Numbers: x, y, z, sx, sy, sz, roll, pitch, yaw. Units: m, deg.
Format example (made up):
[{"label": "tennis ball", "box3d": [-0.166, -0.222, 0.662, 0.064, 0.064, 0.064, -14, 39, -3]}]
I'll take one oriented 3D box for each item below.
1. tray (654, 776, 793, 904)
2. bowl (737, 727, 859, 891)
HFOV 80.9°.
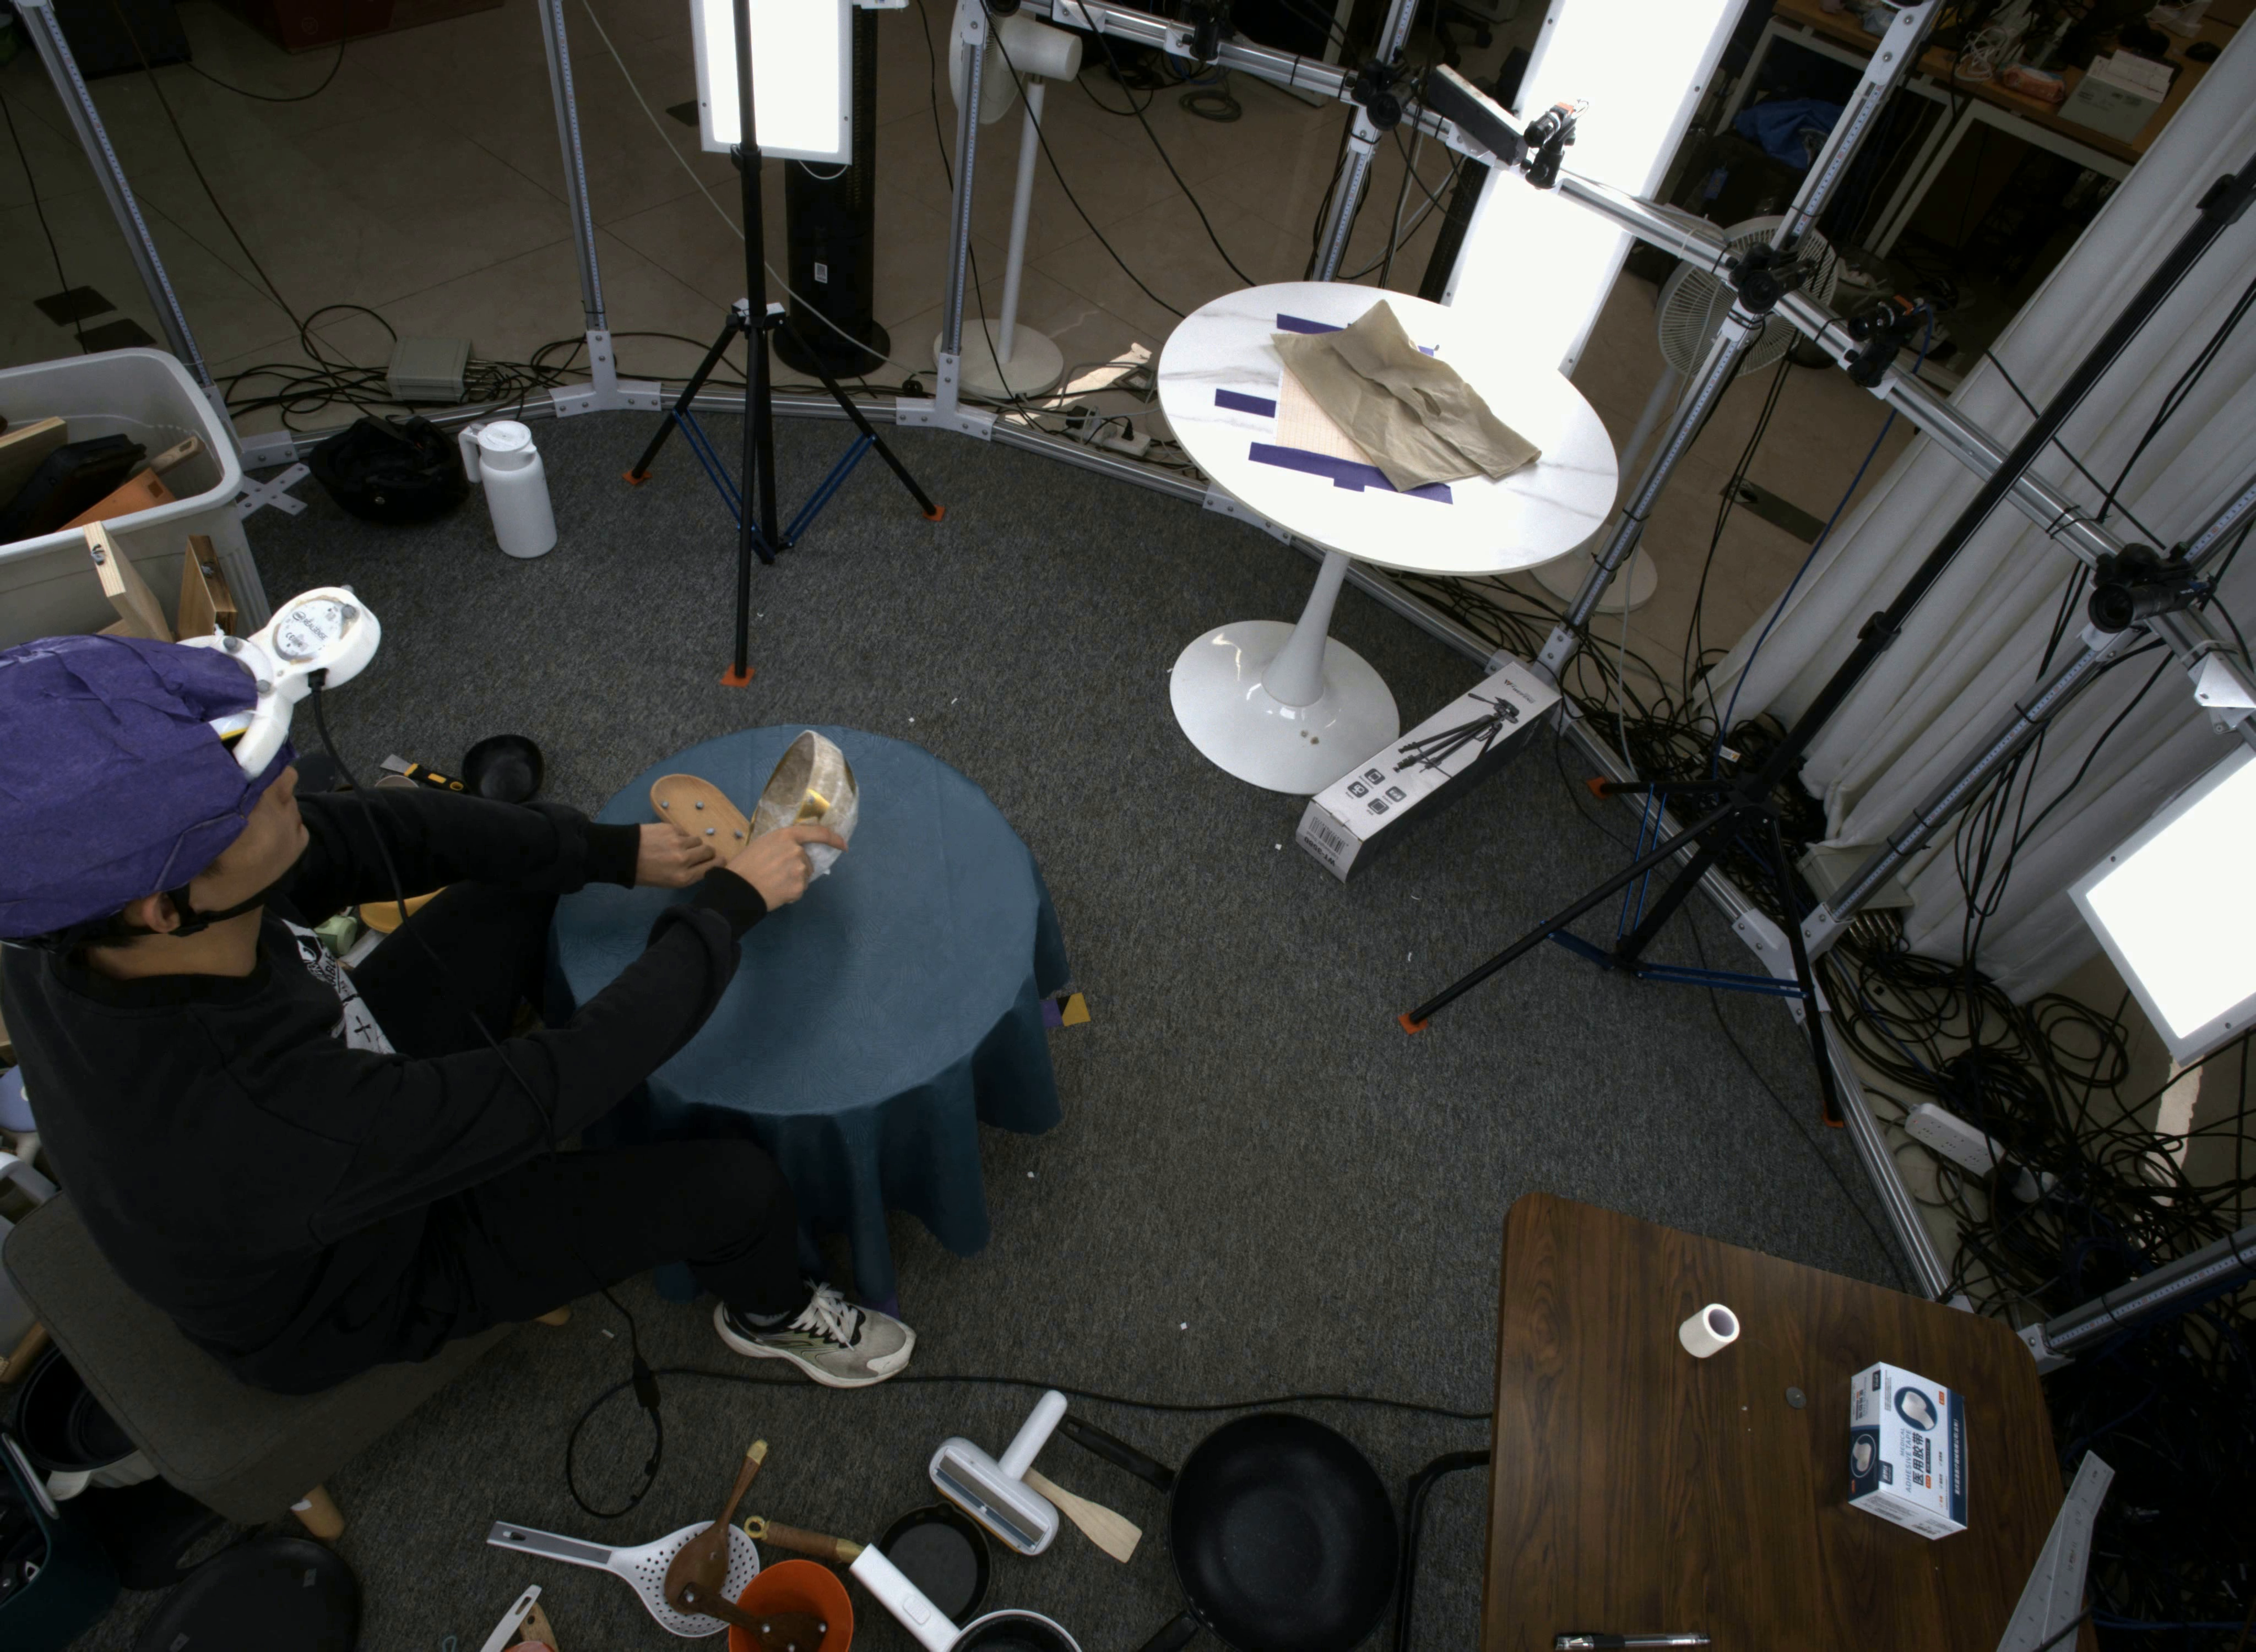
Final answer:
[{"label": "tray", "box3d": [-0.519, 0.015, 1.653, 0.227, 0.020, 0.102, 44, 34, 13]}, {"label": "bowl", "box3d": [-0.390, -0.007, 1.583, 0.097, 0.213, 0.210, 24, 45, -29]}]
